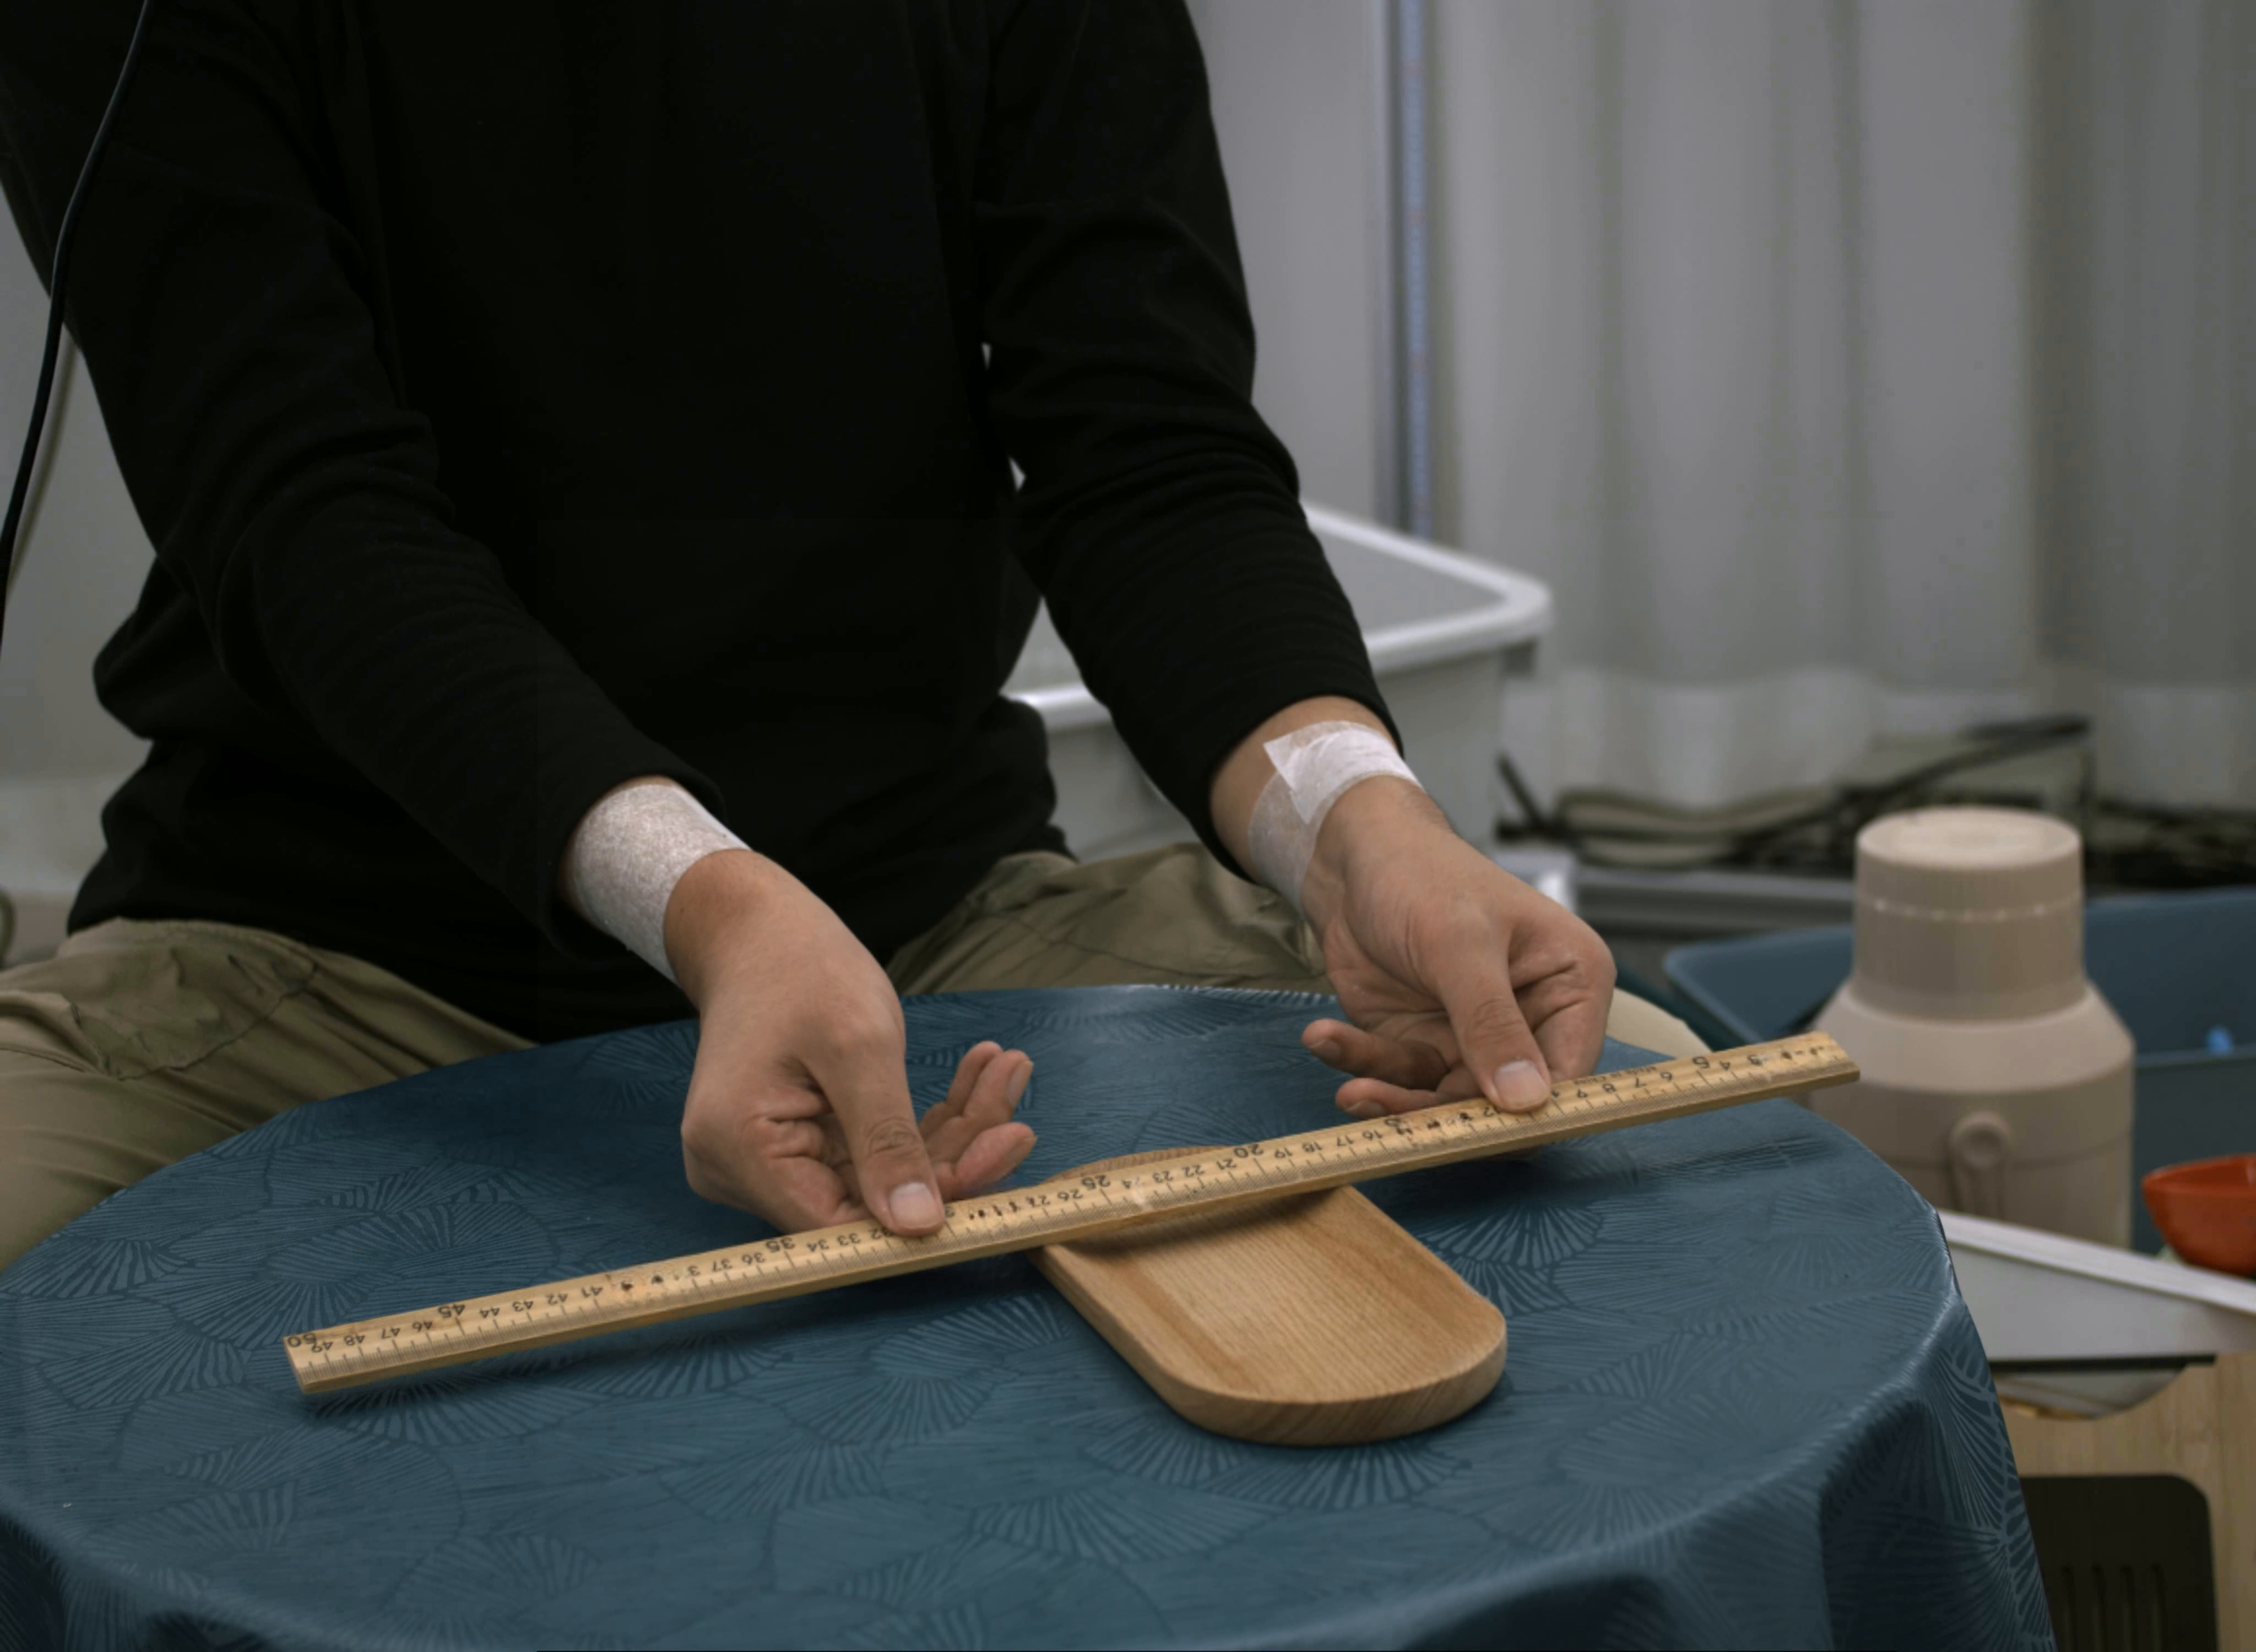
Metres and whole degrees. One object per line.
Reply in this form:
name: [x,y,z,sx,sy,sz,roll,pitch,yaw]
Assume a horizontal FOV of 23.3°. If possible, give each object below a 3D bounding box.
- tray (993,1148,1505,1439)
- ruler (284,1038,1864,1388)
tray: [0.033,0.135,1.600,0.101,0.020,0.233,-8,14,-19]
ruler: [-0.007,0.113,1.642,0.498,0.006,0.027,-10,32,-18]
